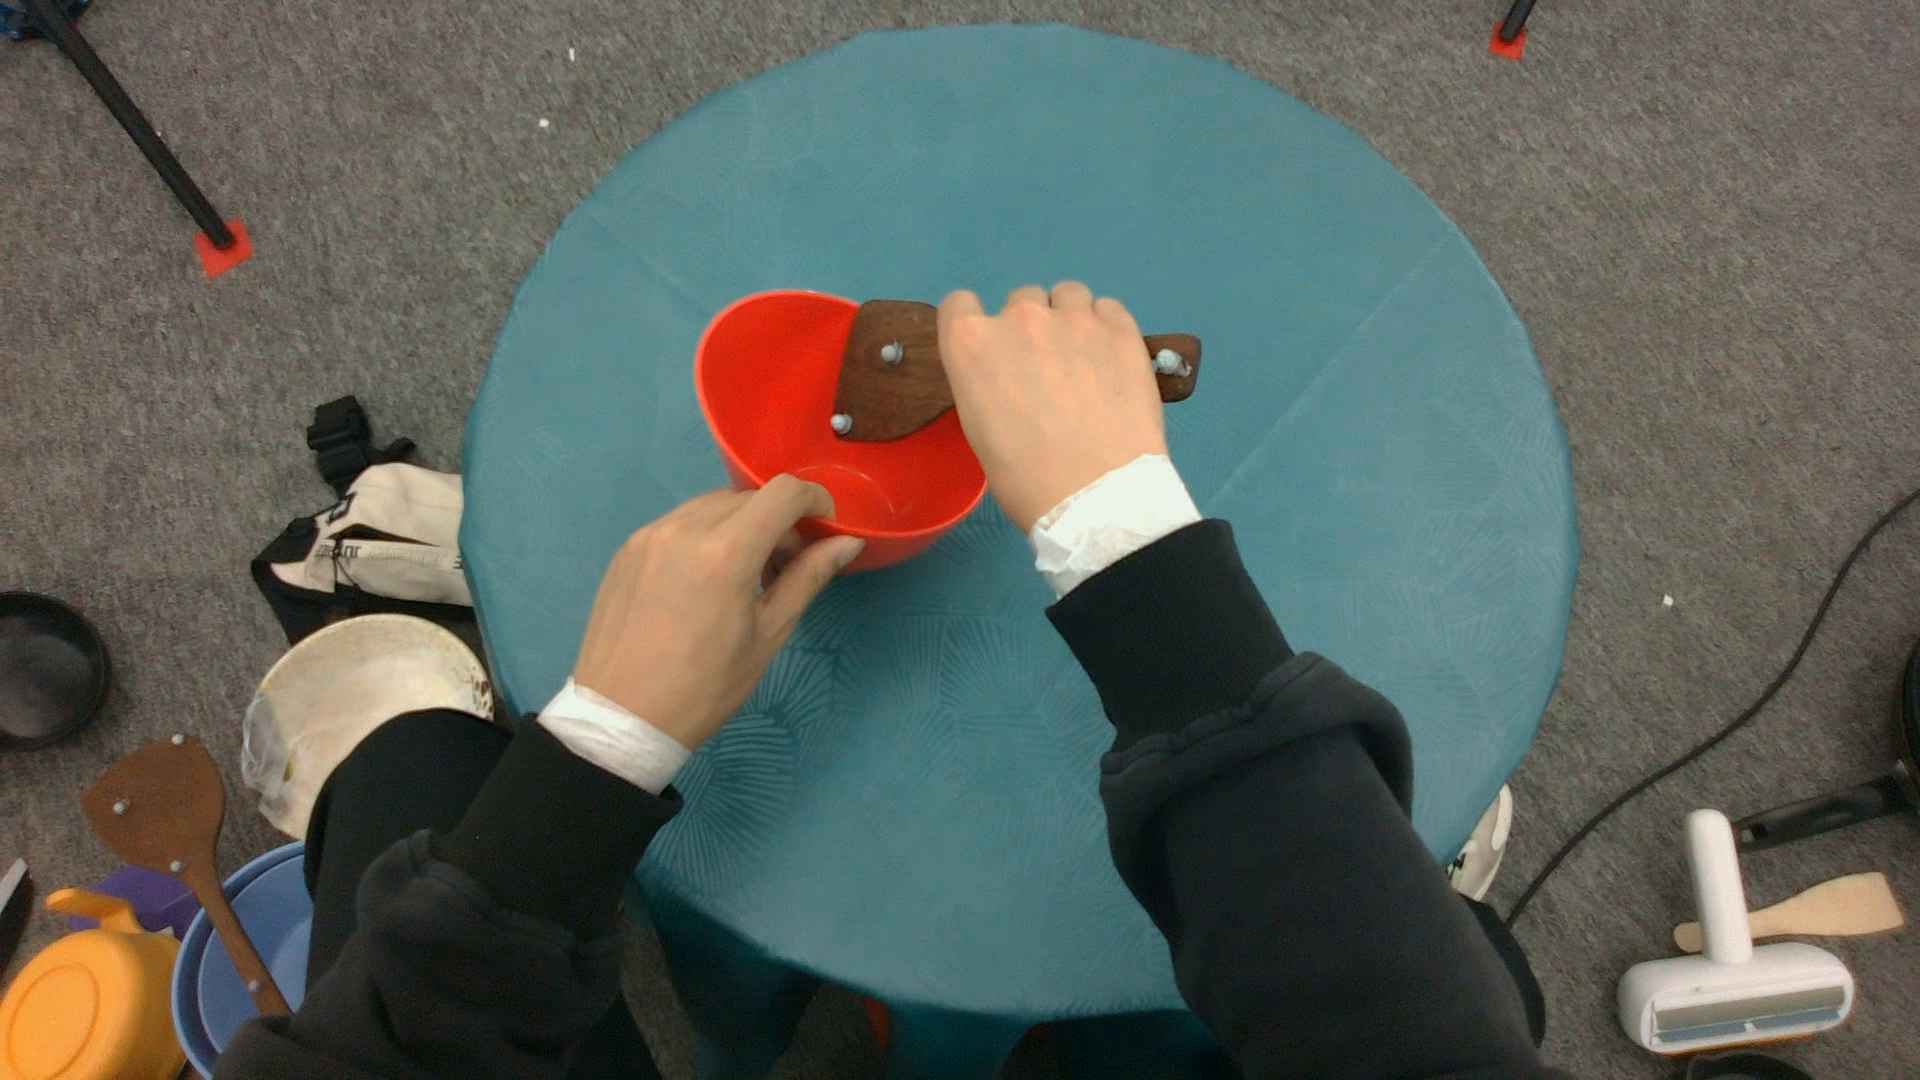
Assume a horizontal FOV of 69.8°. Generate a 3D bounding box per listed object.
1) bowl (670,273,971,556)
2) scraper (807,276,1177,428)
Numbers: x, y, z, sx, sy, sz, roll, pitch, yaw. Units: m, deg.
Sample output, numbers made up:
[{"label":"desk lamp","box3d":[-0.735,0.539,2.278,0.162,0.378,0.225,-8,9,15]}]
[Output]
[{"label":"bowl","box3d":[-0.074,-0.047,0.672,0.148,0.104,0.148,11,51,-14]},{"label":"scraper","box3d":[0.007,-0.084,0.613,0.211,0.011,0.076,7,82,43]}]
